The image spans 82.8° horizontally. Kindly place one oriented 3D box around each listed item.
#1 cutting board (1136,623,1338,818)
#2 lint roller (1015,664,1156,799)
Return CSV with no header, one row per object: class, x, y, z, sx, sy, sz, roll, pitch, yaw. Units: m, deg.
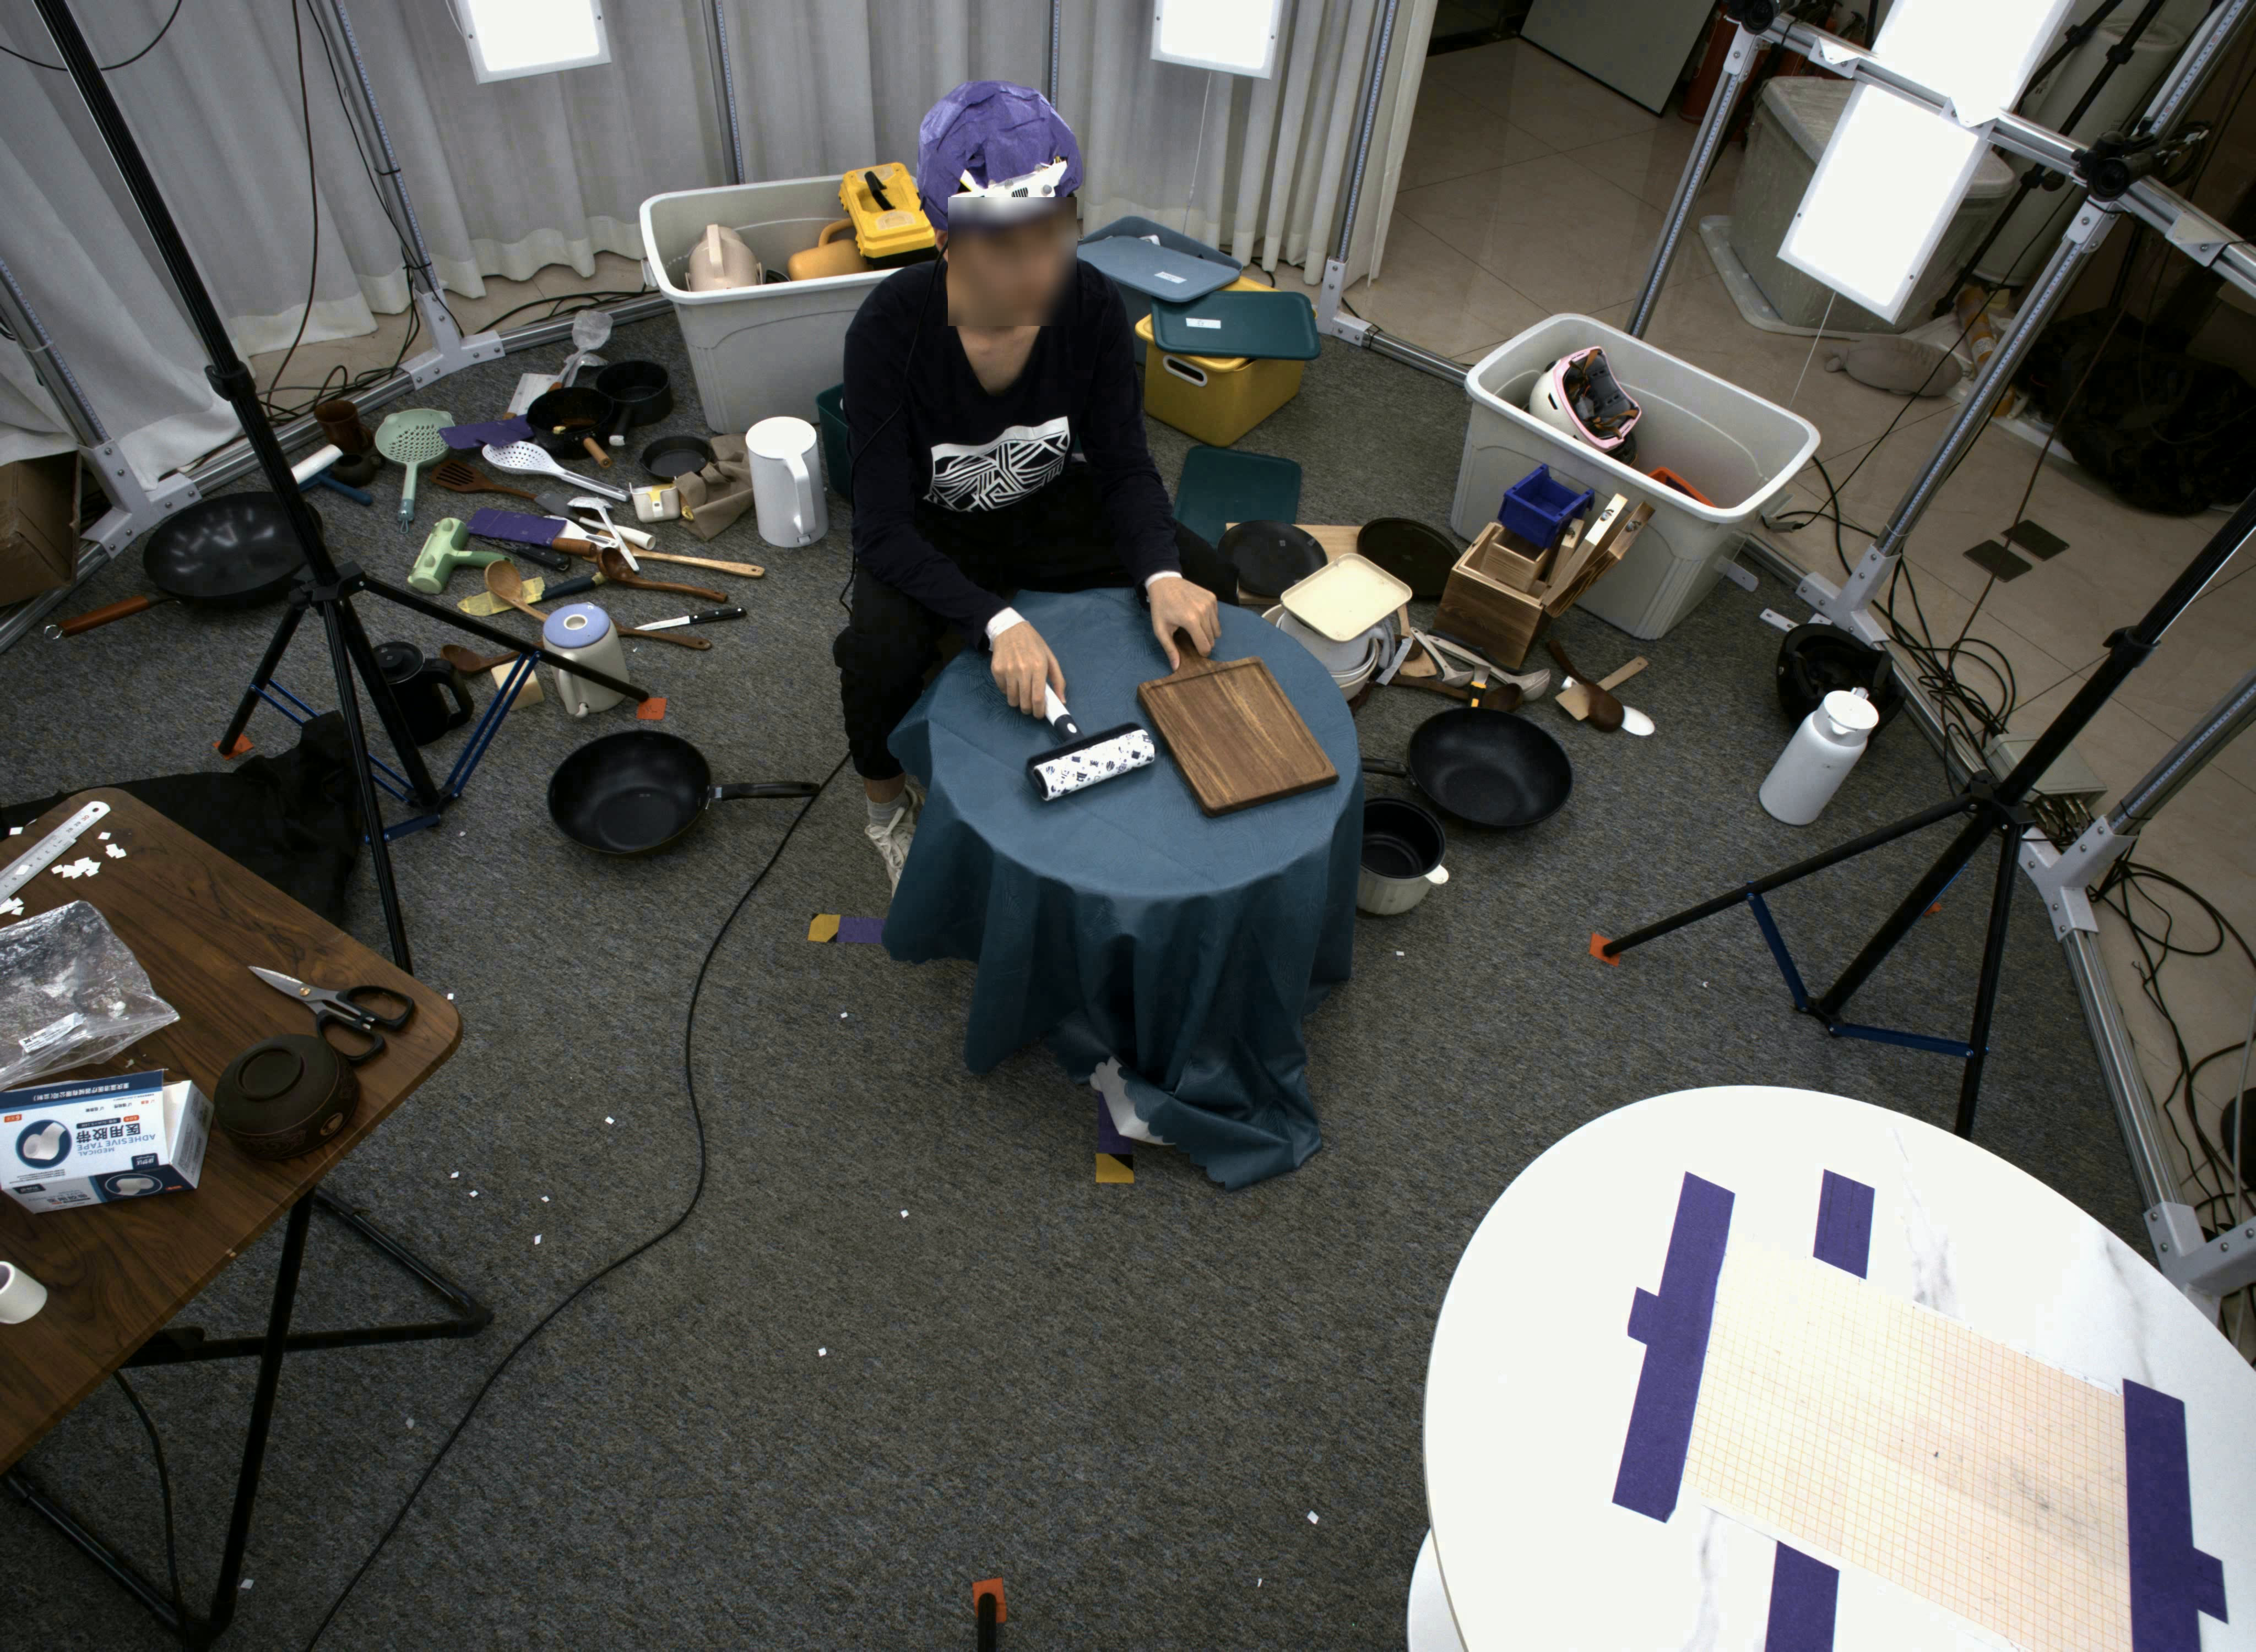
cutting board,0.129,-0.167,1.806,0.201,0.022,0.360,-15,52,-17
lint roller,-0.096,-0.151,1.765,0.177,0.049,0.252,-22,52,-20
